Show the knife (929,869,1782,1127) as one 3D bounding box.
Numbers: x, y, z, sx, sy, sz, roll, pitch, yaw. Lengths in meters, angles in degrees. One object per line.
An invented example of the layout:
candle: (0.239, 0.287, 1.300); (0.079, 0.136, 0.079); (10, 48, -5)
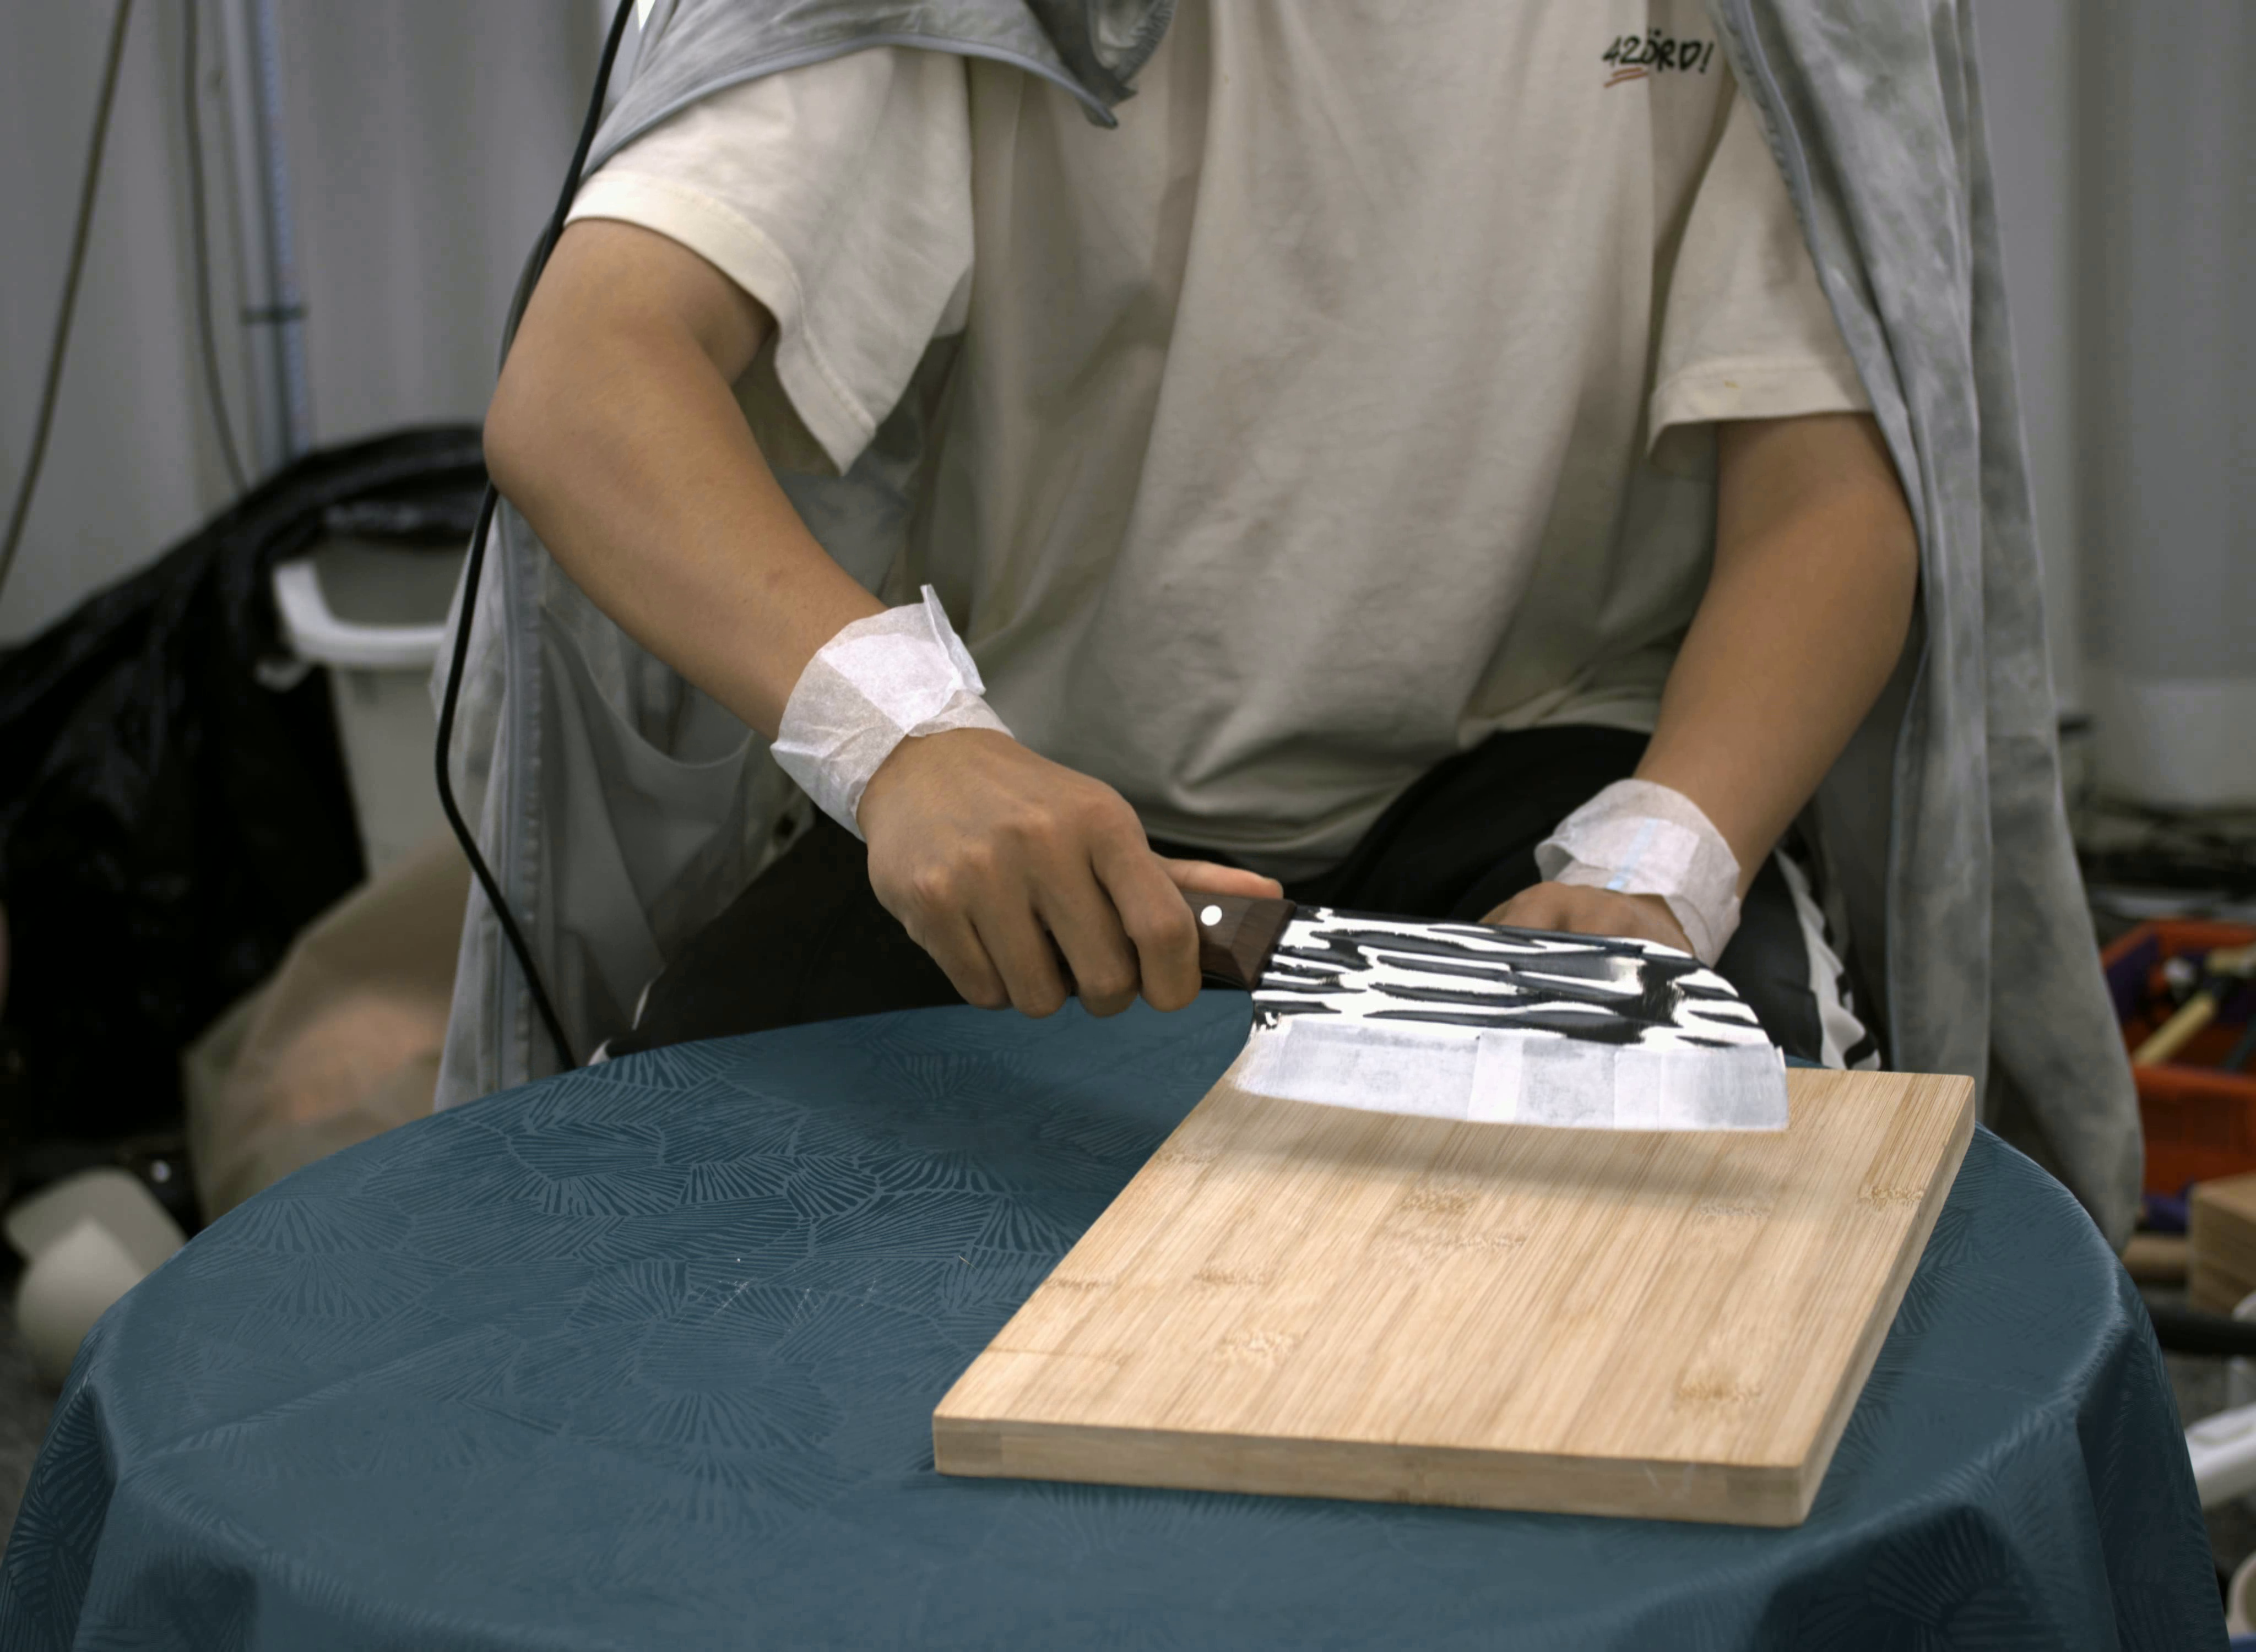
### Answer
knife: (0.065, 0.054, 1.688); (0.300, 0.069, 0.023); (6, -28, 26)

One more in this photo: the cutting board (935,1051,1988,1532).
cutting board: (0.110, 0.128, 1.618); (0.250, 0.023, 0.350); (2, 15, 15)
